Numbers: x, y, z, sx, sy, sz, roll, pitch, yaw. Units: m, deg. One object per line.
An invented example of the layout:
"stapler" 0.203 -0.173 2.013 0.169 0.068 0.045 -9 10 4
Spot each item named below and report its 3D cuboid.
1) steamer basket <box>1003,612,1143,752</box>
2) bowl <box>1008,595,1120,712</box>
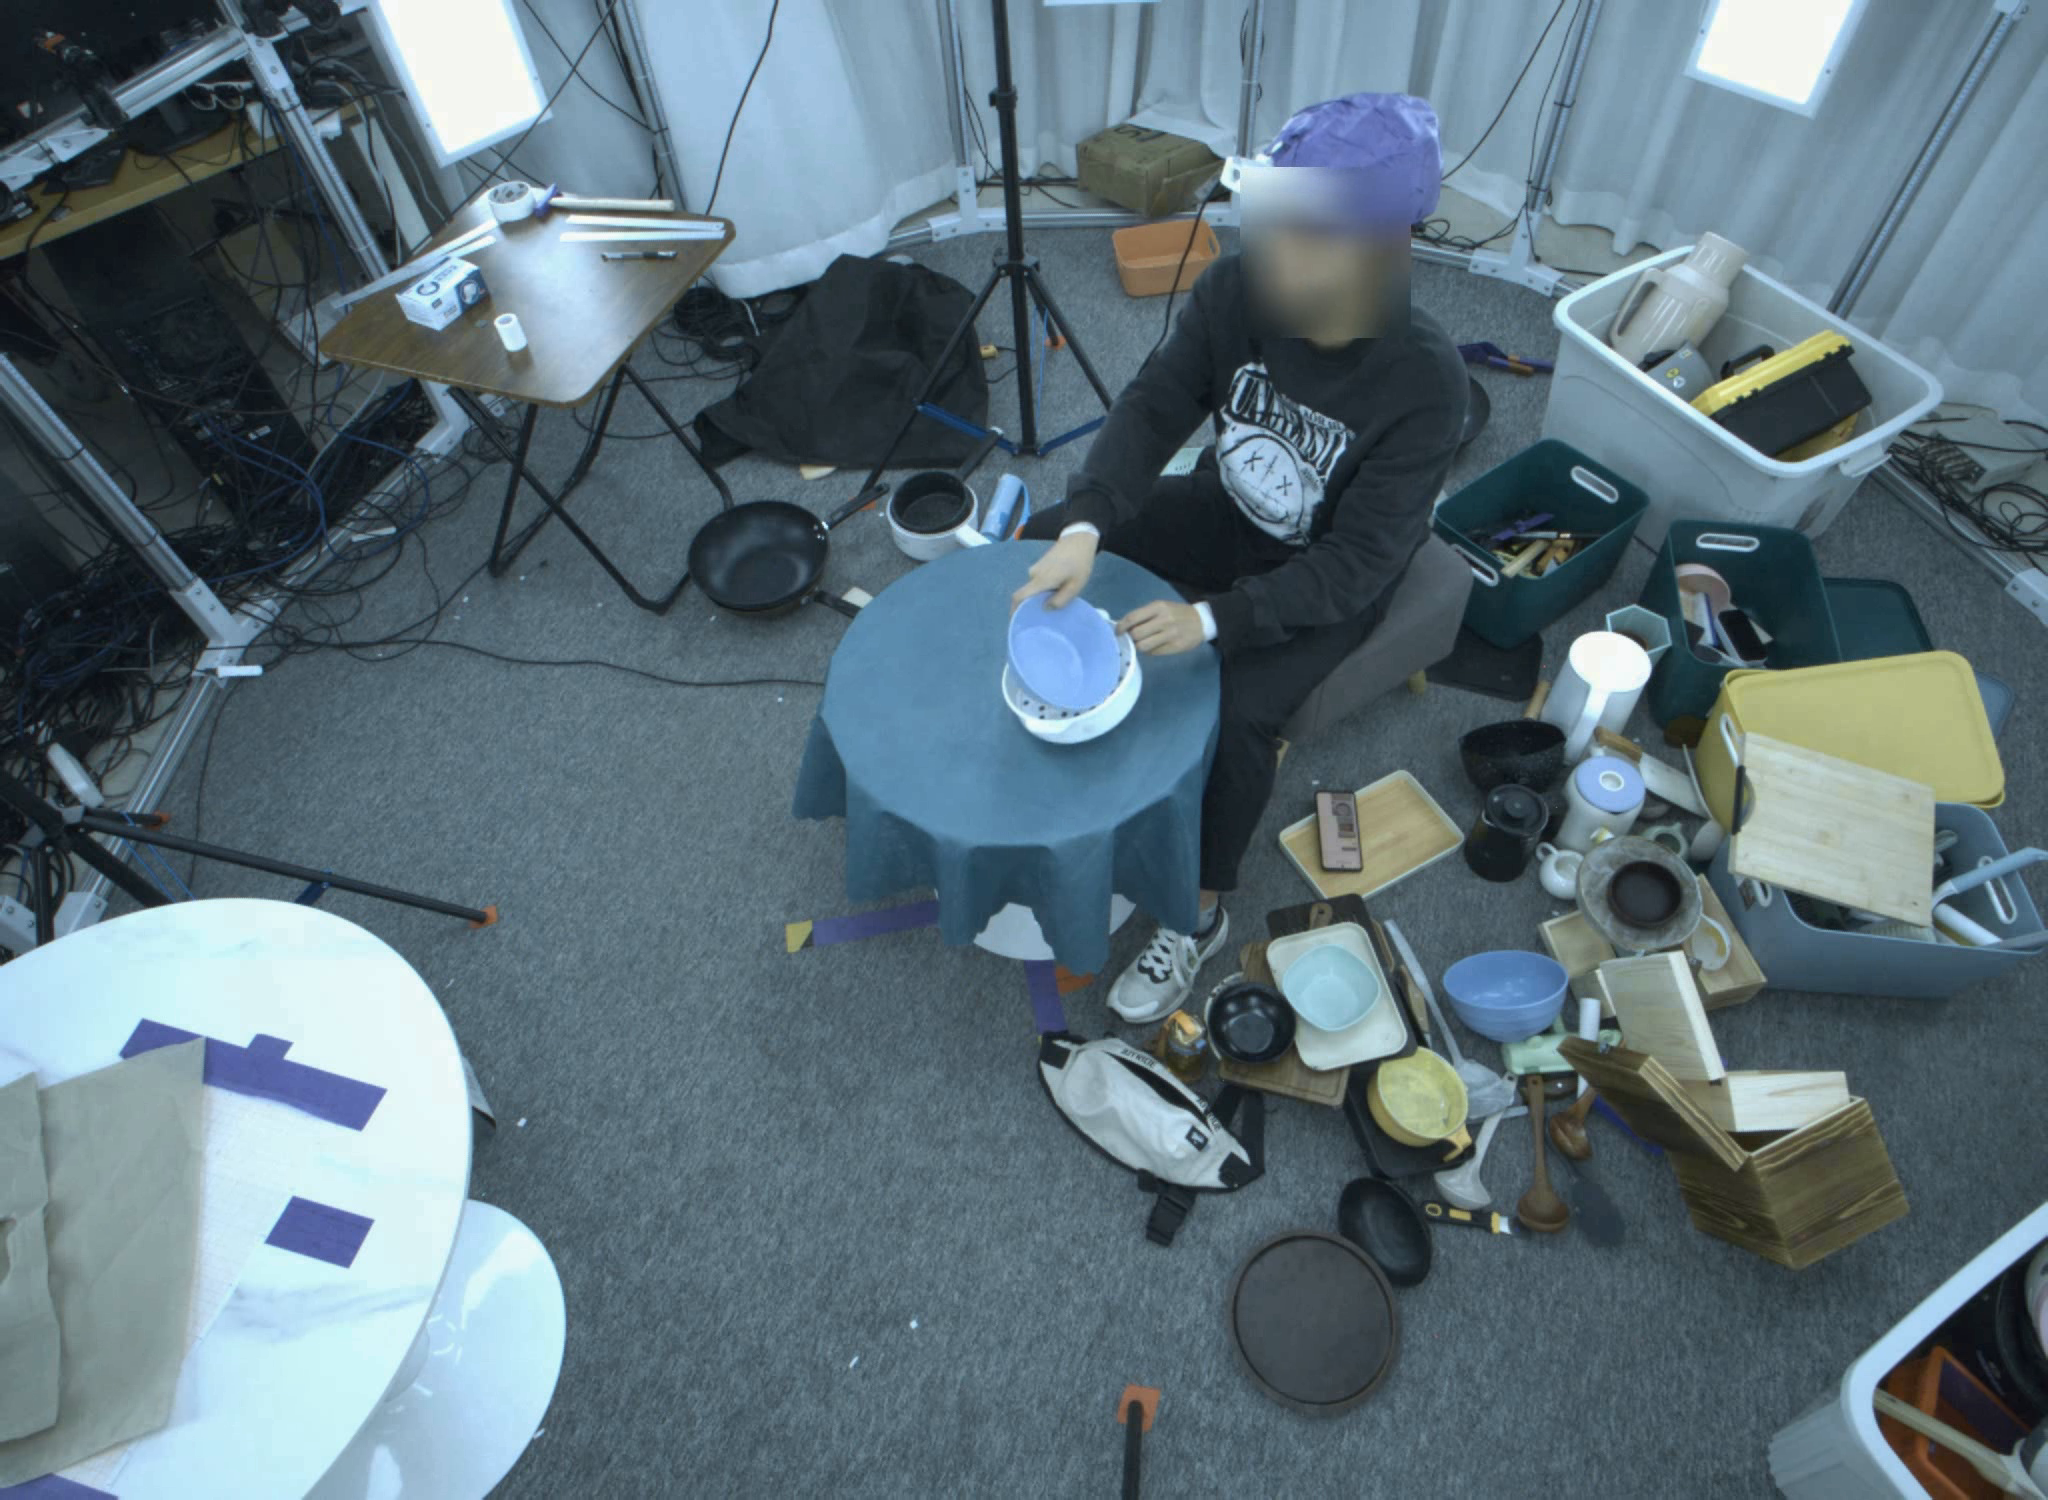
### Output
"steamer basket" 0.074 -0.093 1.796 0.198 0.070 0.230 5 61 24
"bowl" 0.044 -0.125 1.733 0.179 0.069 0.175 11 68 -27
